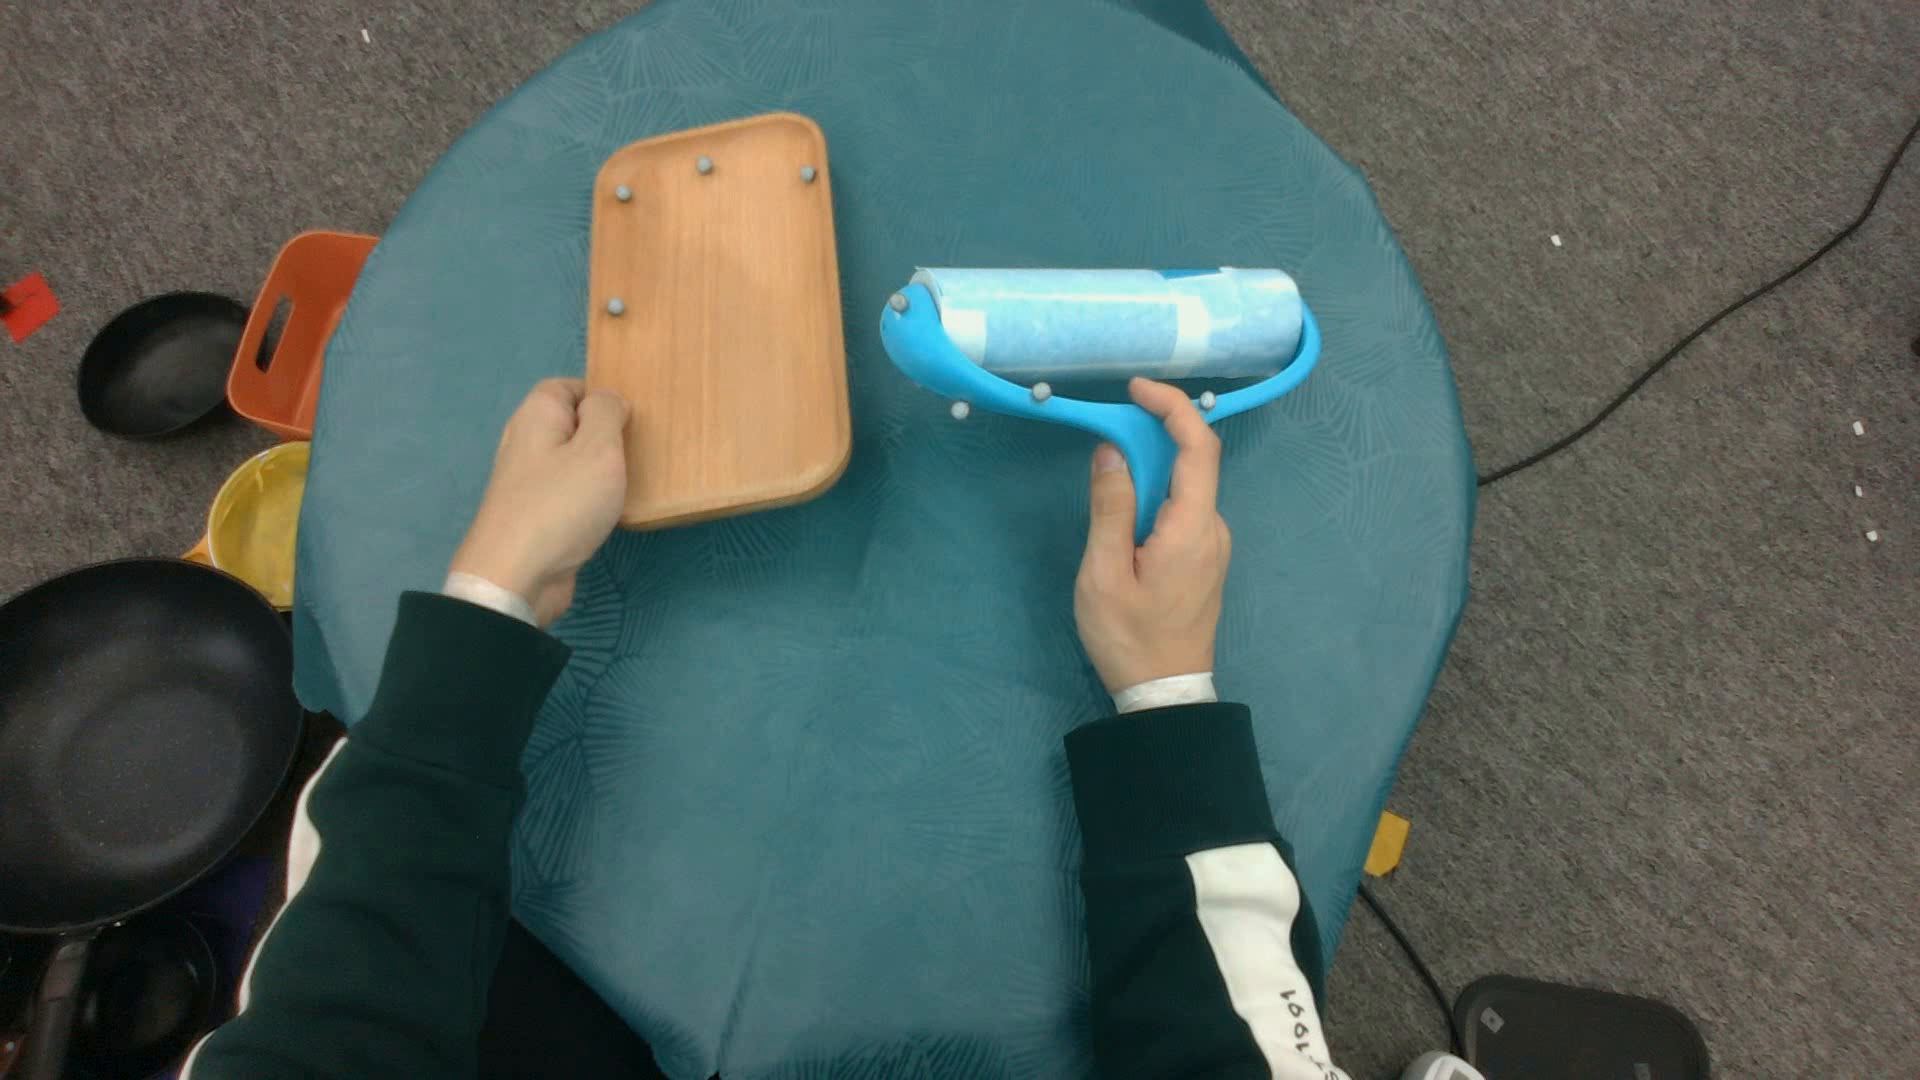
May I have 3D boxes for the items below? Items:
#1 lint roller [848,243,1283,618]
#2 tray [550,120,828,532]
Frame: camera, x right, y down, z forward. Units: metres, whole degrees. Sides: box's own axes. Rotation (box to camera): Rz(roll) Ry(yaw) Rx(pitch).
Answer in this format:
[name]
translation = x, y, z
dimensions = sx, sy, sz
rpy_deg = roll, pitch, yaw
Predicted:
[lint roller]
translation = 0.066, -0.055, 0.657
dimensions = 0.229, 0.067, 0.180
rpy_deg = -10, 86, -28
[tray]
translation = -0.139, -0.114, 0.686
dimensions = 0.130, 0.023, 0.251
rpy_deg = -11, 58, 1
